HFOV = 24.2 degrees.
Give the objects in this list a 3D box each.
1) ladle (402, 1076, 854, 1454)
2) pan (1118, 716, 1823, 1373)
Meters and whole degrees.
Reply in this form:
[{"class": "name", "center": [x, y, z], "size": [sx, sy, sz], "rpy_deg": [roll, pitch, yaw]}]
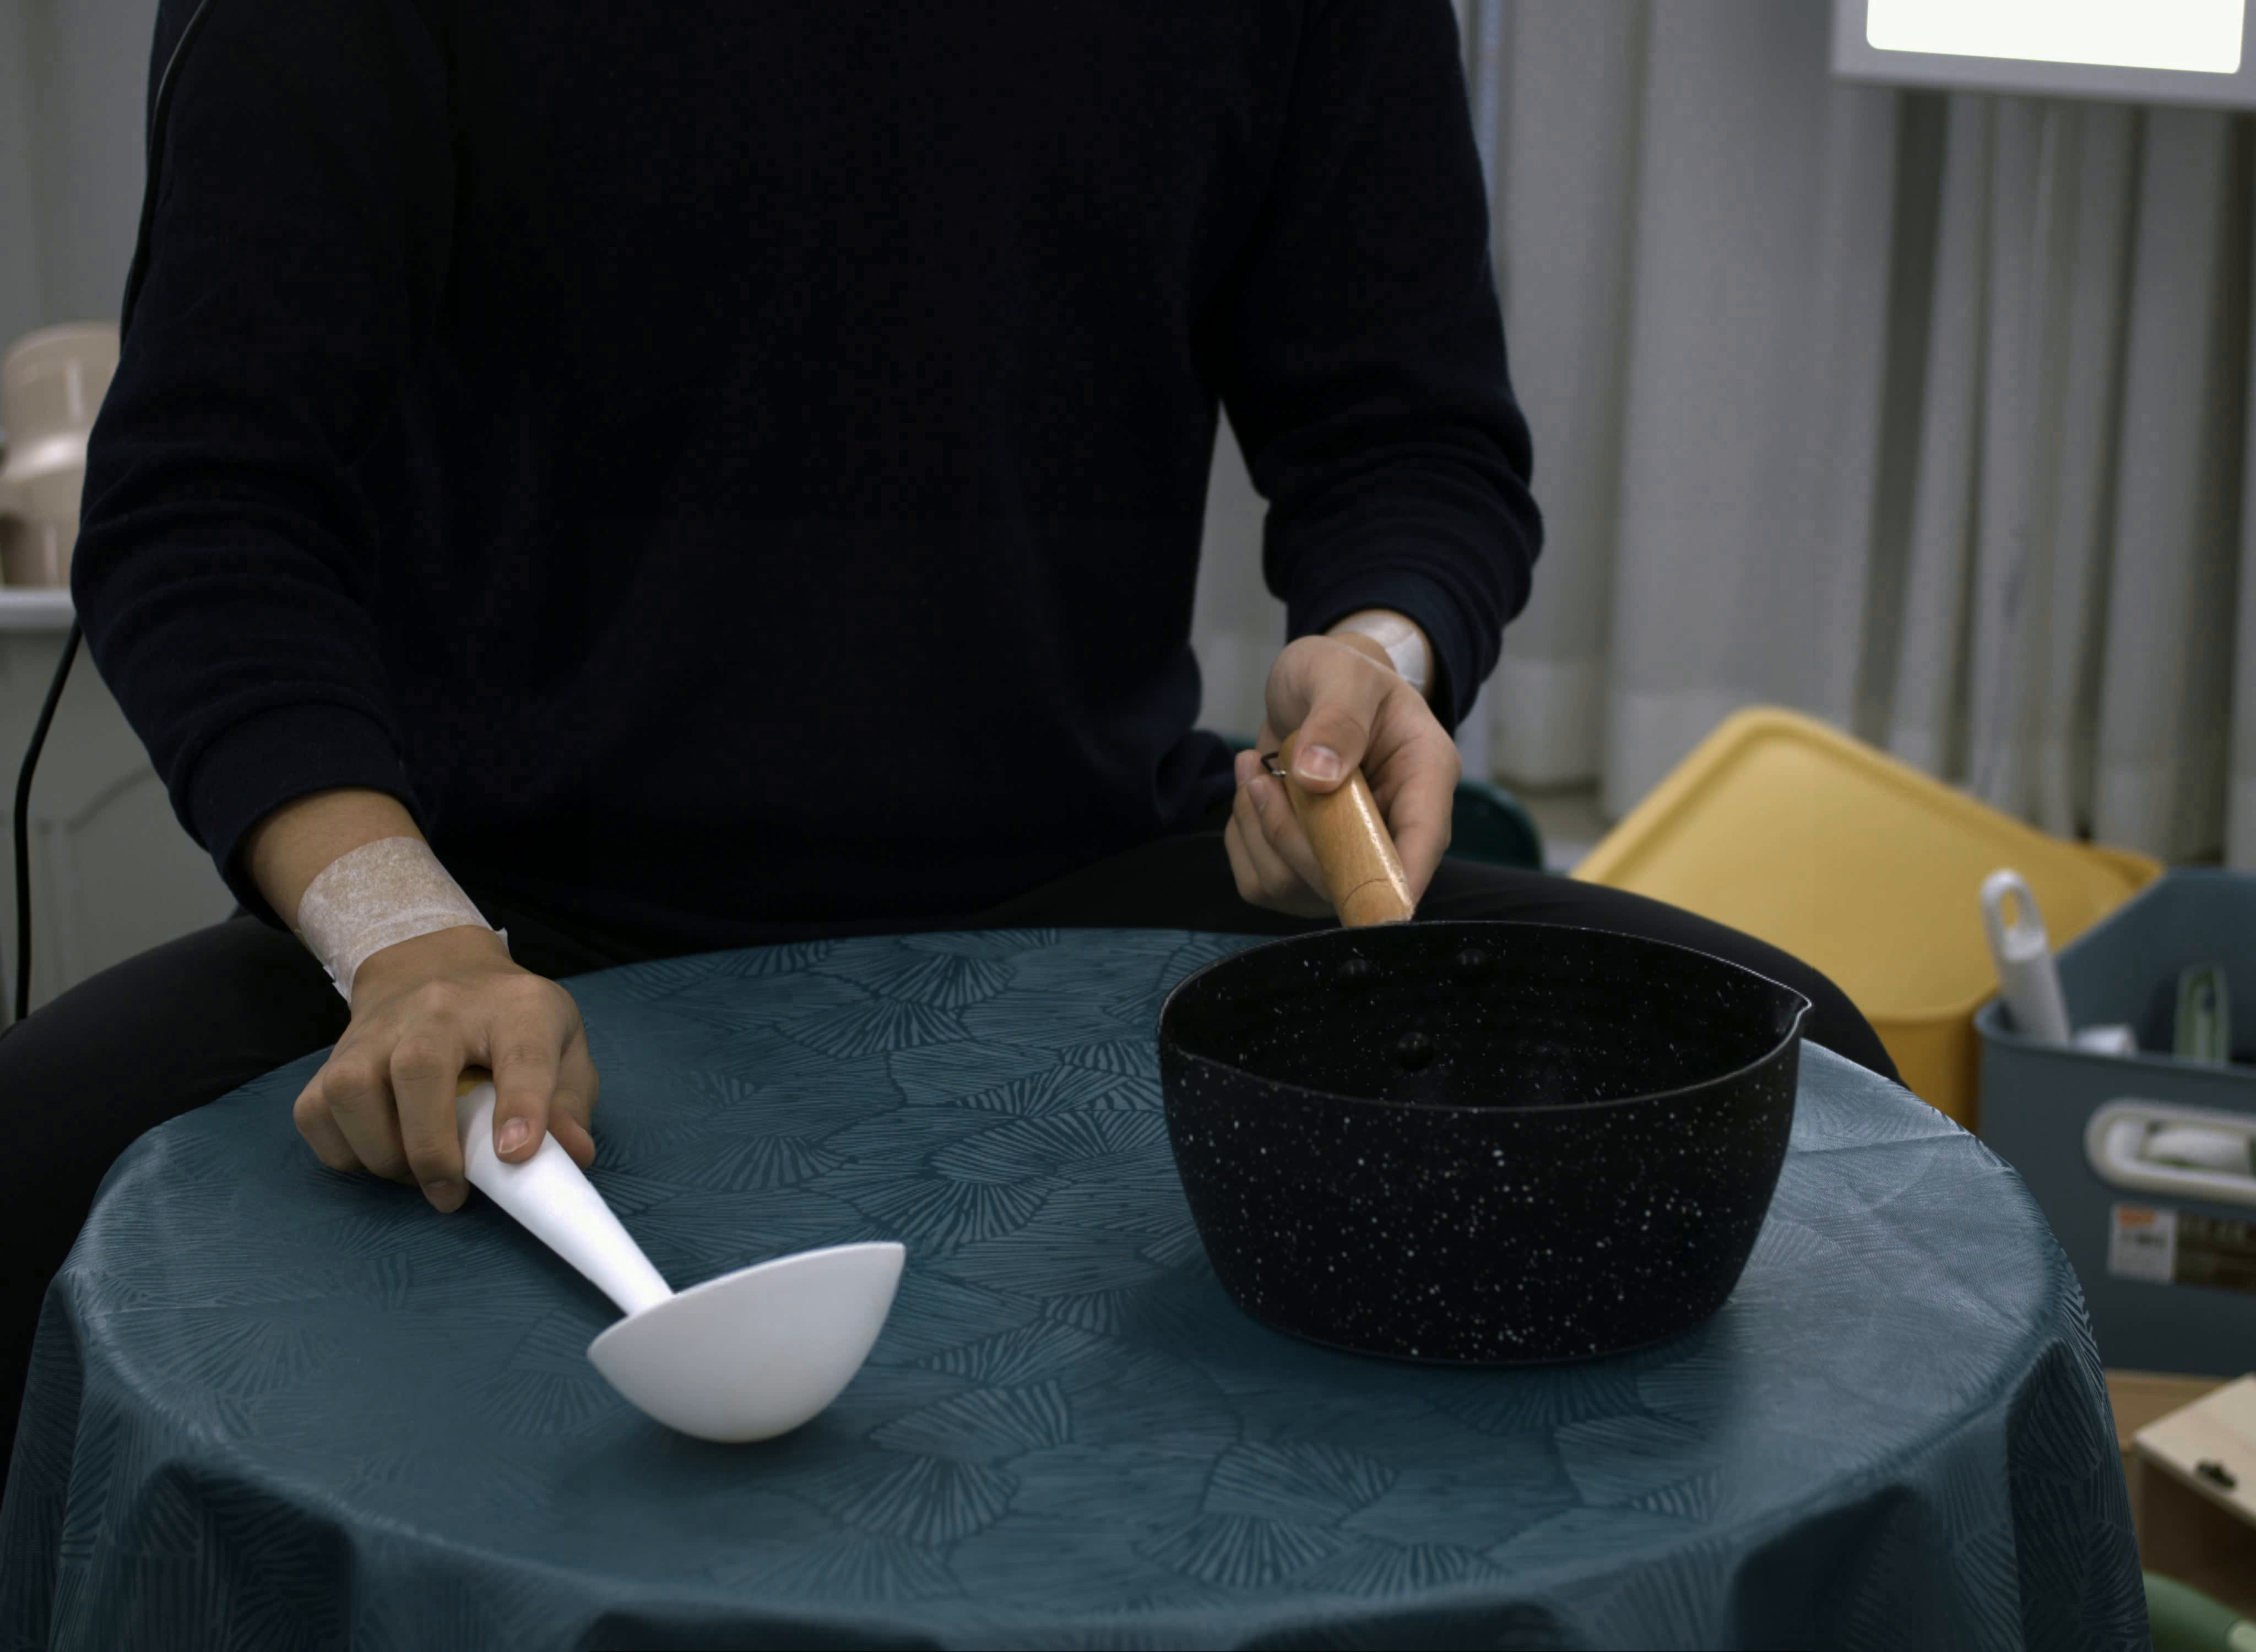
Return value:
[{"class": "ladle", "center": [-0.157, 0.111, 1.506], "size": [0.090, 0.071, 0.289], "rpy_deg": [-22, 23, -18]}, {"class": "pan", "center": [0.087, 0.061, 1.608], "size": [0.207, 0.109, 0.340], "rpy_deg": [-4, 17, -10]}]
